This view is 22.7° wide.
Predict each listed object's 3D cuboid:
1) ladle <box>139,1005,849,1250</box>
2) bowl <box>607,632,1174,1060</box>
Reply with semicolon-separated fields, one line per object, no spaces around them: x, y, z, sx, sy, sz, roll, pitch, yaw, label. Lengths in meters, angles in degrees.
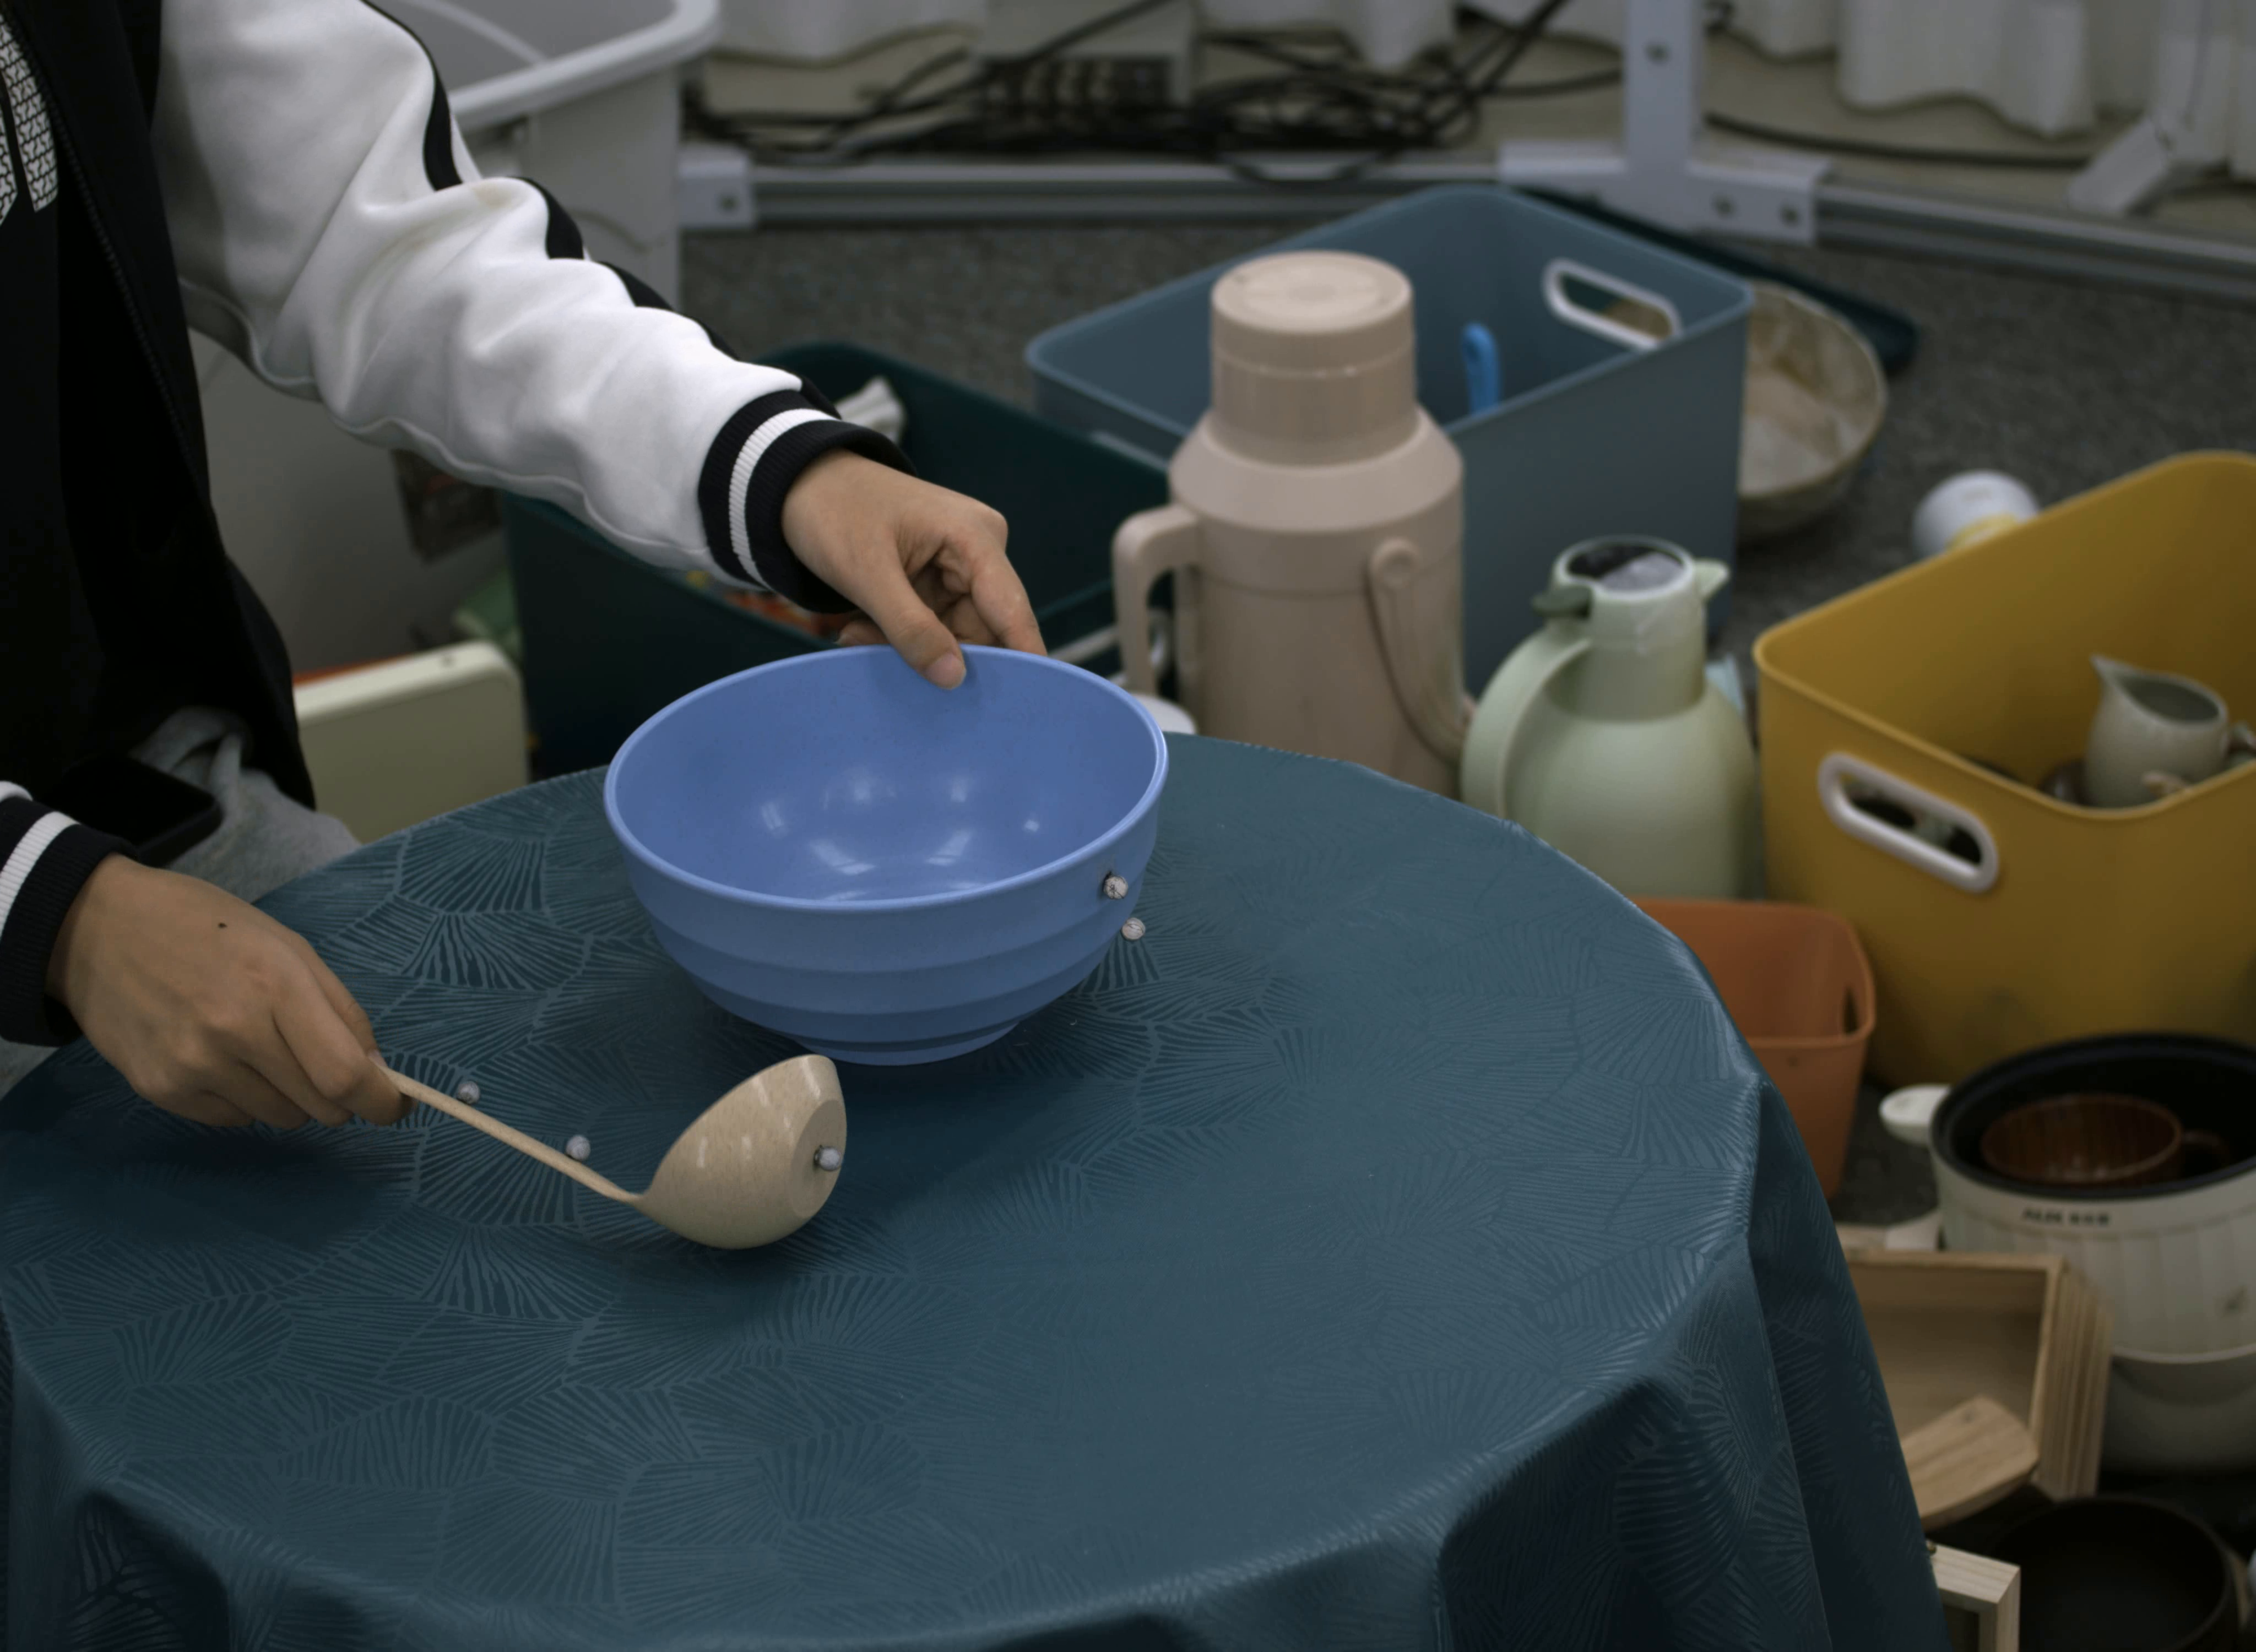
-0.210;0.072;1.865;0.253;0.073;0.072;20;-6;21;ladle
-0.082;0.018;1.962;0.195;0.094;0.199;1;28;0;bowl
